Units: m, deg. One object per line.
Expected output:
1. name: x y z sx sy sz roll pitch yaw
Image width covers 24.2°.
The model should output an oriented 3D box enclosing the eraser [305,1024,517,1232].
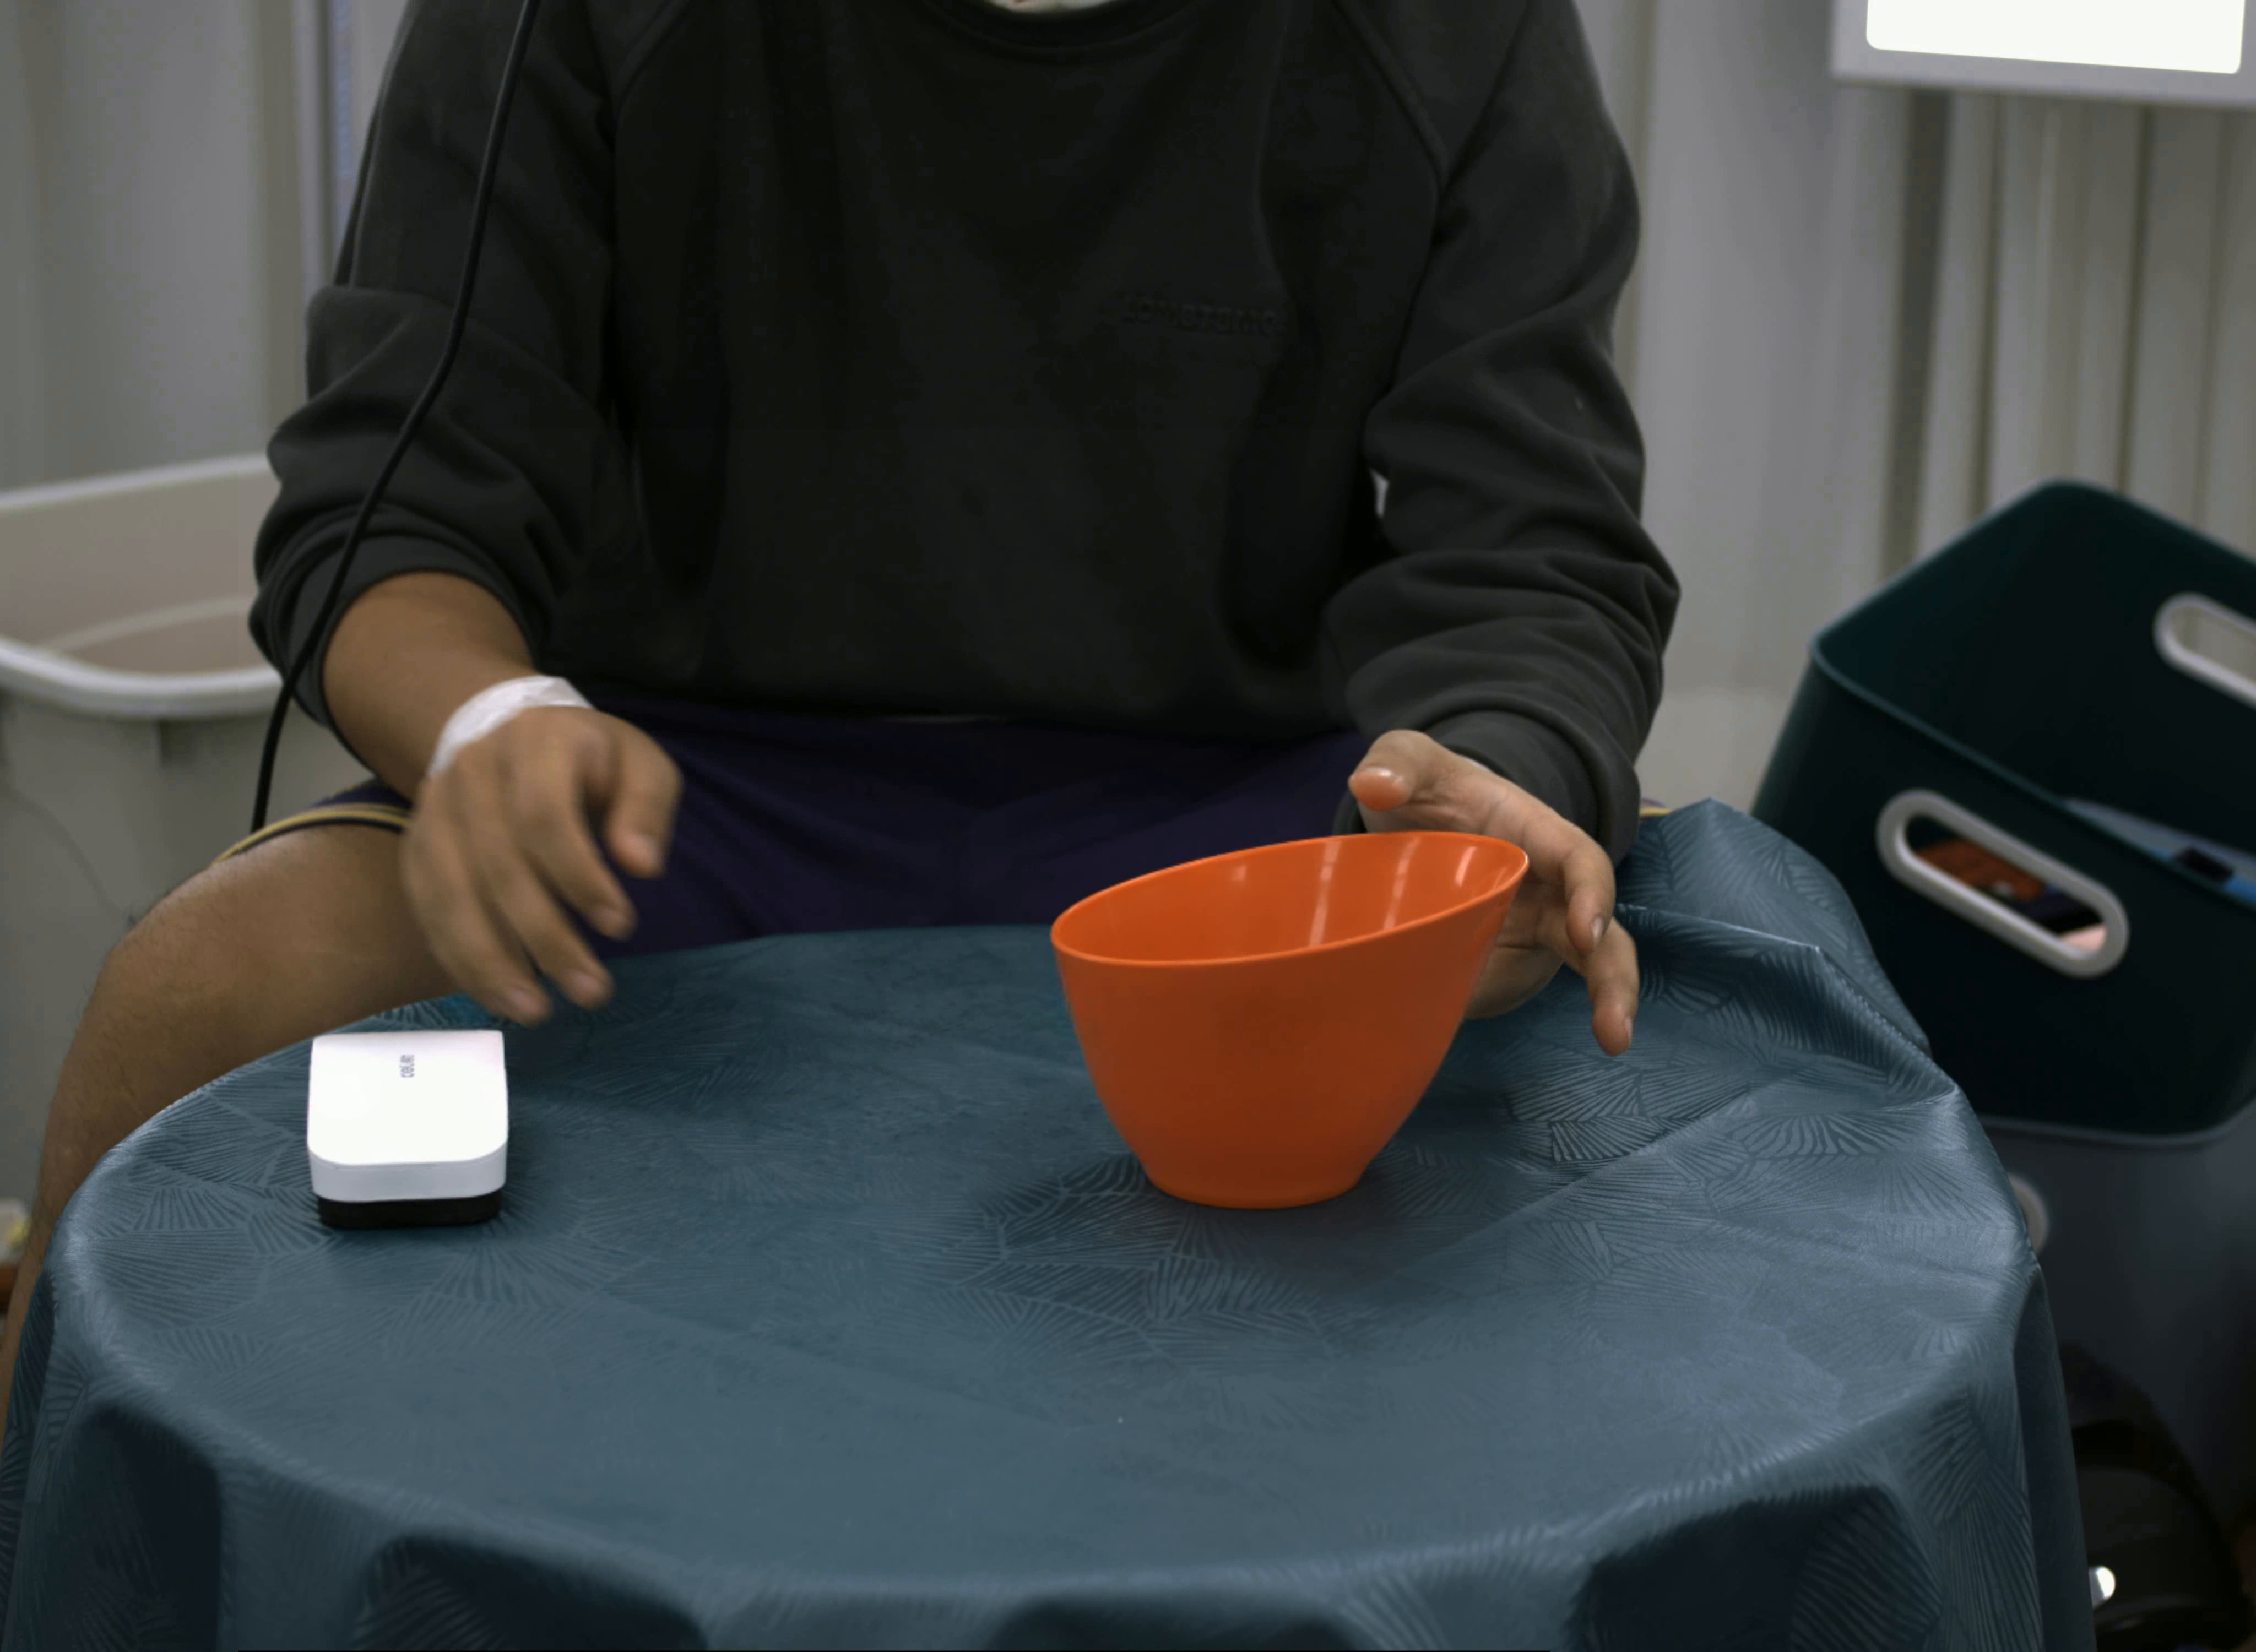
1. eraser: -0.222 0.089 1.637 0.063 0.035 0.130 0 17 -6

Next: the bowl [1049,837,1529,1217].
1. bowl: 0.049 0.062 1.619 0.147 0.105 0.147 0 15 1
